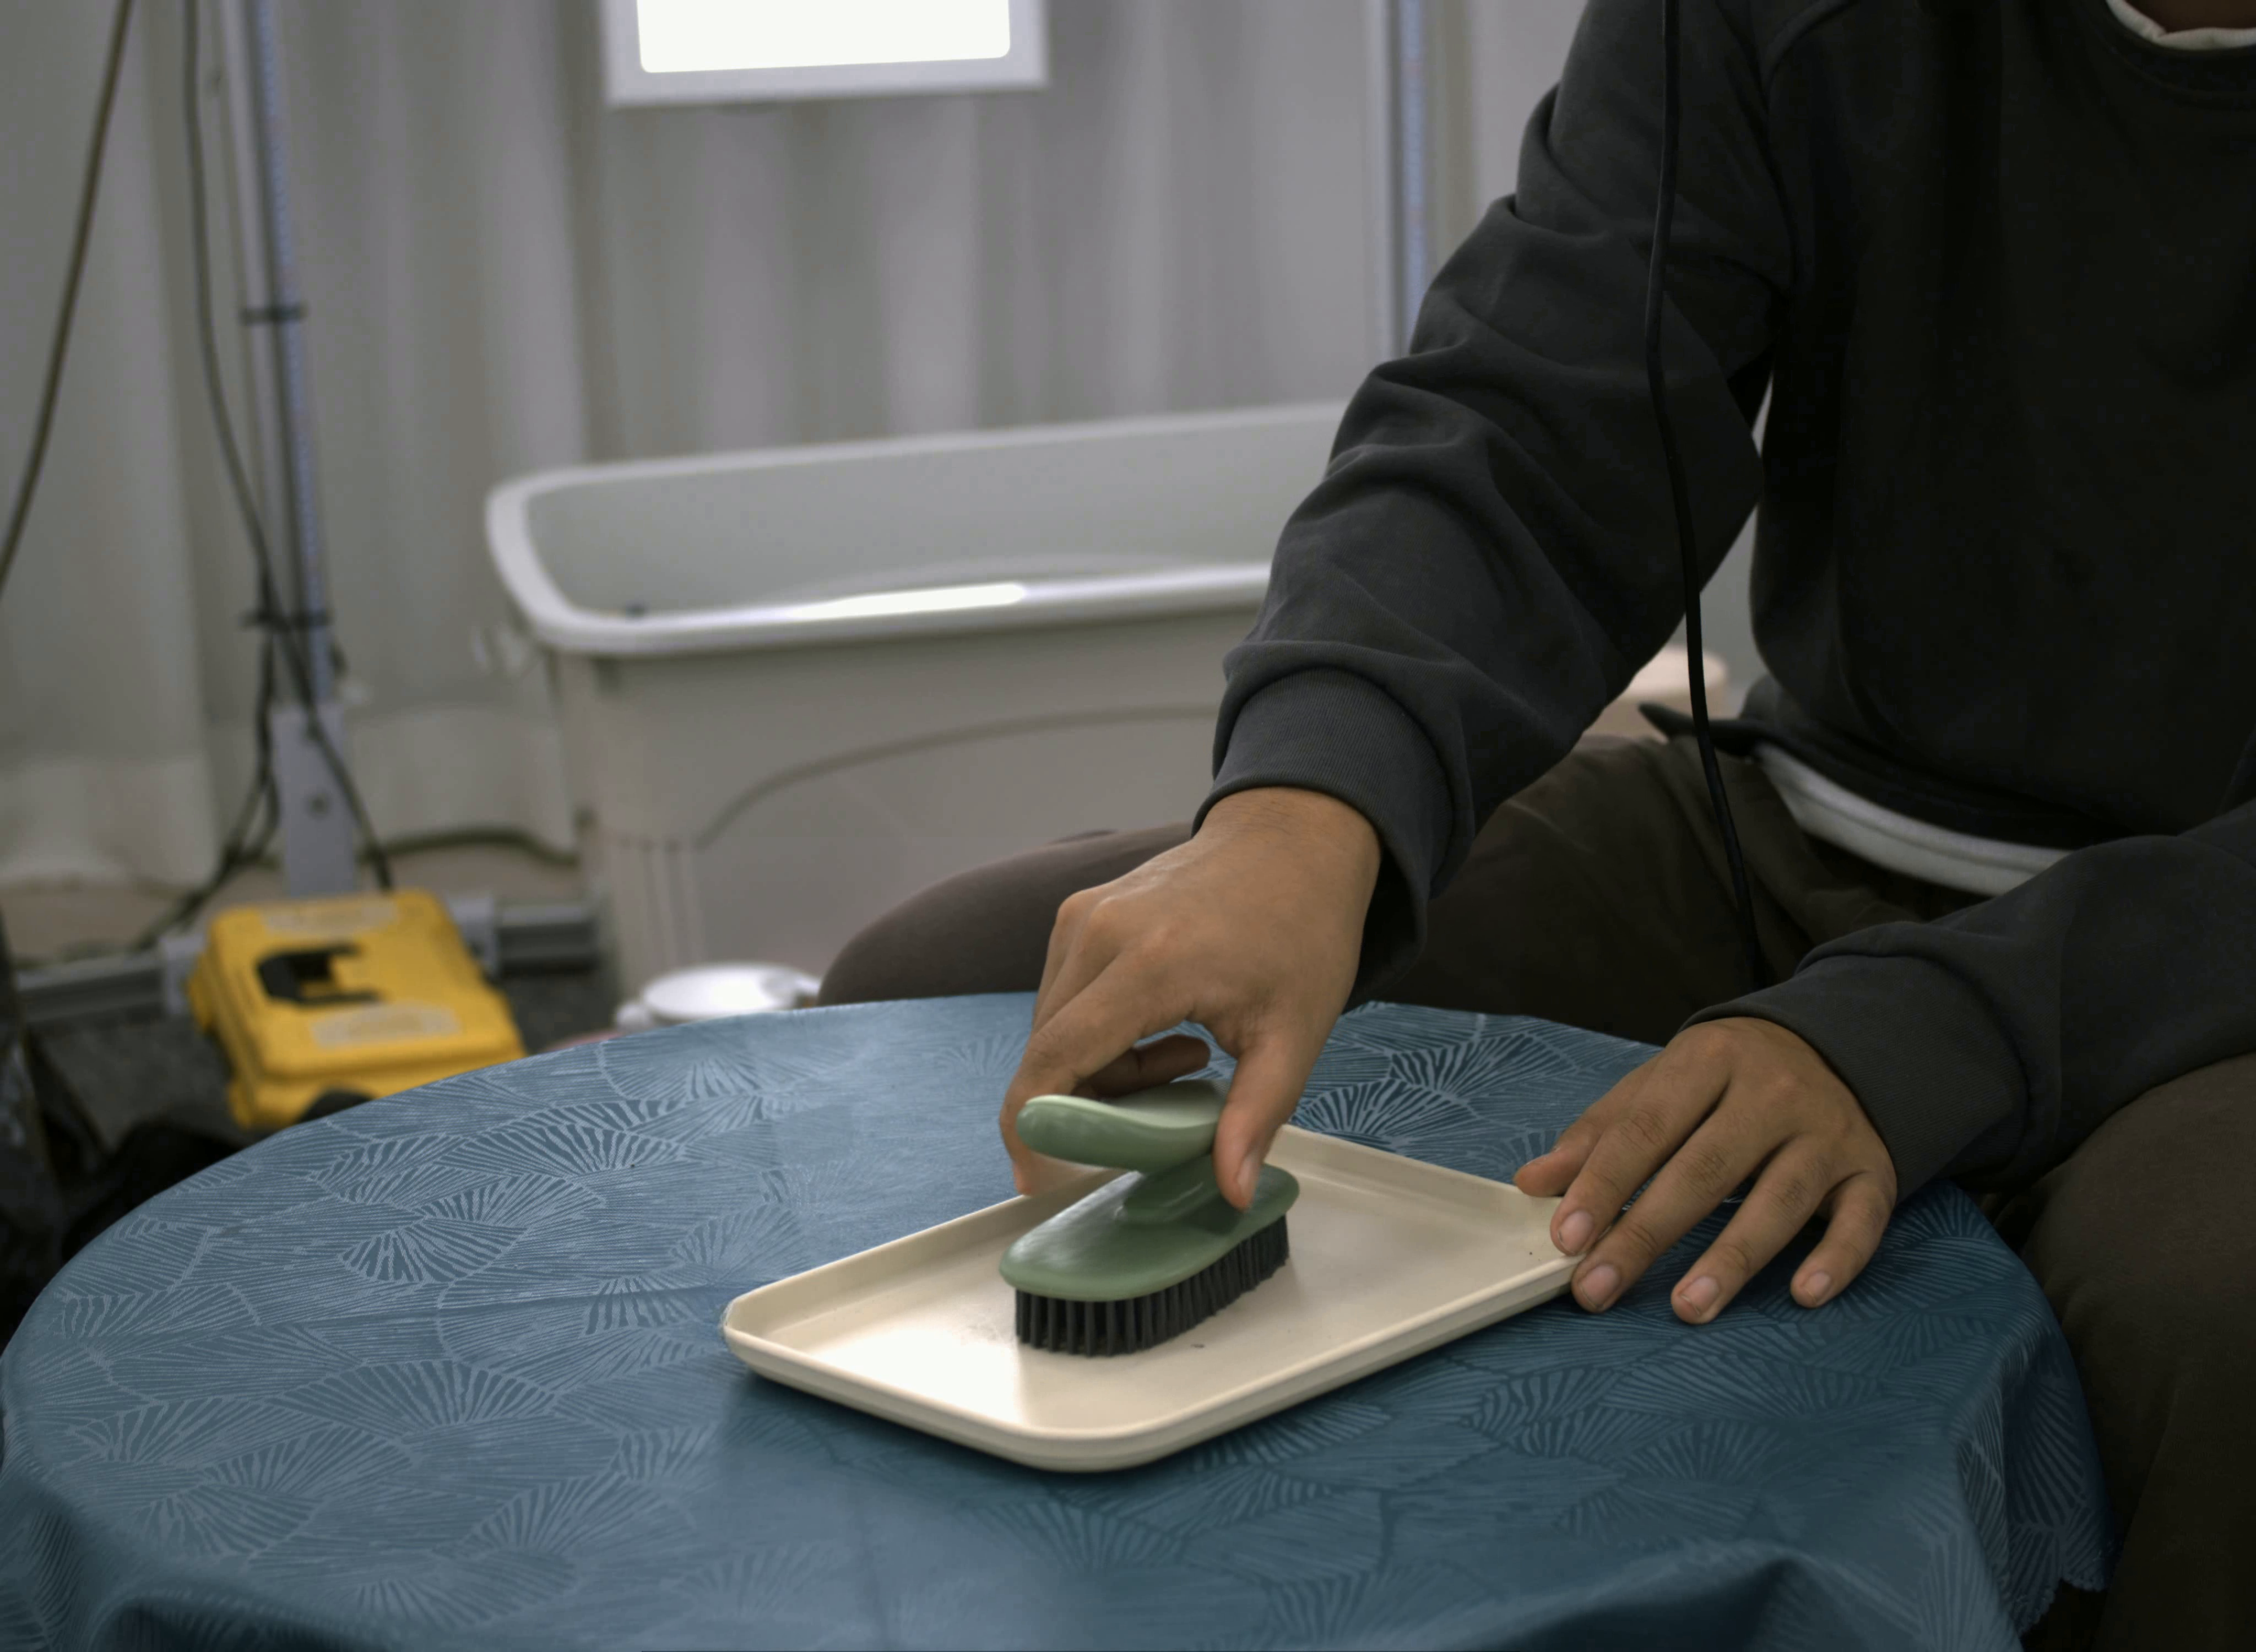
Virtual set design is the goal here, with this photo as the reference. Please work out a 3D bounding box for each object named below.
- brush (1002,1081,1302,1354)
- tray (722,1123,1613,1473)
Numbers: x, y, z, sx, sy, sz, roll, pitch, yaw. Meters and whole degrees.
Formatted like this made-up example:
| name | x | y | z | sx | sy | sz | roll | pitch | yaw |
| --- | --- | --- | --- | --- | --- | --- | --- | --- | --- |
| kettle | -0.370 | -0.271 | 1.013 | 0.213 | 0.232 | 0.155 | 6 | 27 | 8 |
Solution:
| name | x | y | z | sx | sy | sz | roll | pitch | yaw |
| --- | --- | --- | --- | --- | --- | --- | --- | --- | --- |
| brush | 0.007 | 0.113 | 1.610 | 0.060 | 0.076 | 0.122 | 5 | 3 | 28 |
| tray | 0.014 | 0.137 | 1.598 | 0.239 | 0.017 | 0.172 | -16 | 20 | -42 |
